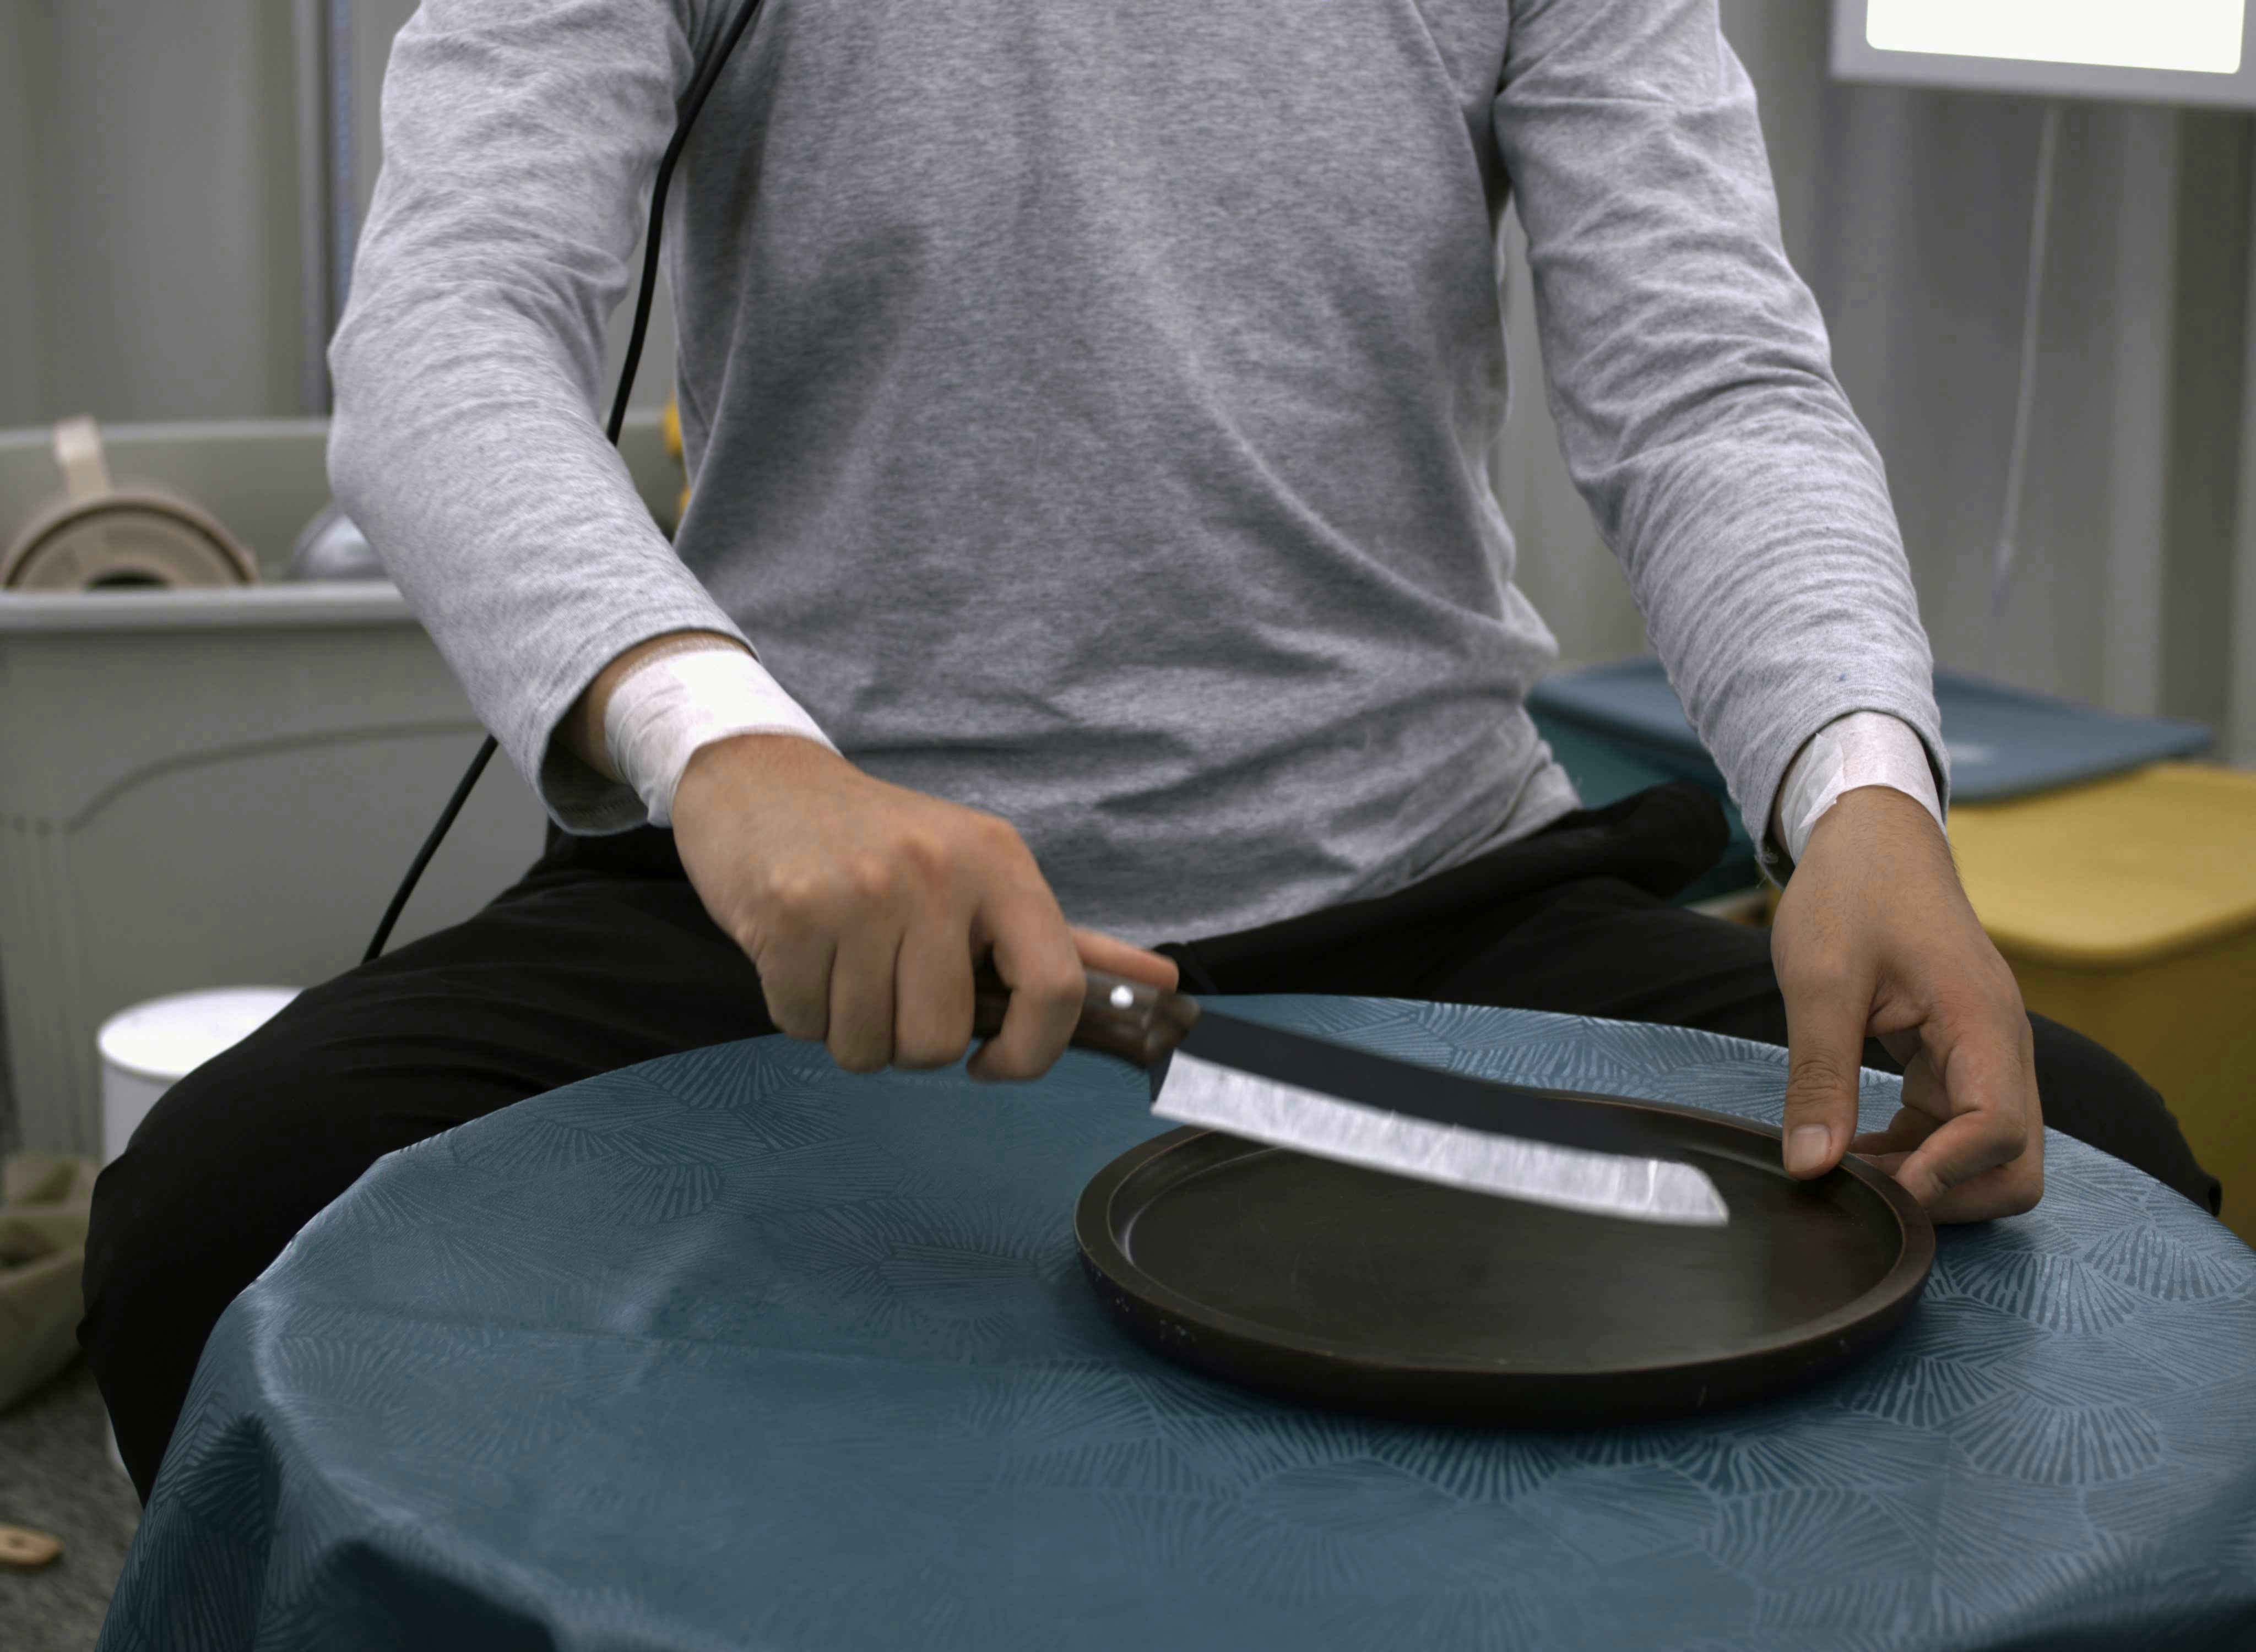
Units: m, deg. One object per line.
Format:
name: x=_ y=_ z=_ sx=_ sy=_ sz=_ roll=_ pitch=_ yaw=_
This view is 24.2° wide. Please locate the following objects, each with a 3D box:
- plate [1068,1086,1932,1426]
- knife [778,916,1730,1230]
plate: x=0.108 y=0.123 z=1.543 sx=0.254 sy=0.029 sz=0.253 roll=-1 pitch=15 yaw=1
knife: x=0.034 y=0.072 z=1.509 sx=0.287 sy=0.020 sz=0.050 roll=16 pitch=47 yaw=7
